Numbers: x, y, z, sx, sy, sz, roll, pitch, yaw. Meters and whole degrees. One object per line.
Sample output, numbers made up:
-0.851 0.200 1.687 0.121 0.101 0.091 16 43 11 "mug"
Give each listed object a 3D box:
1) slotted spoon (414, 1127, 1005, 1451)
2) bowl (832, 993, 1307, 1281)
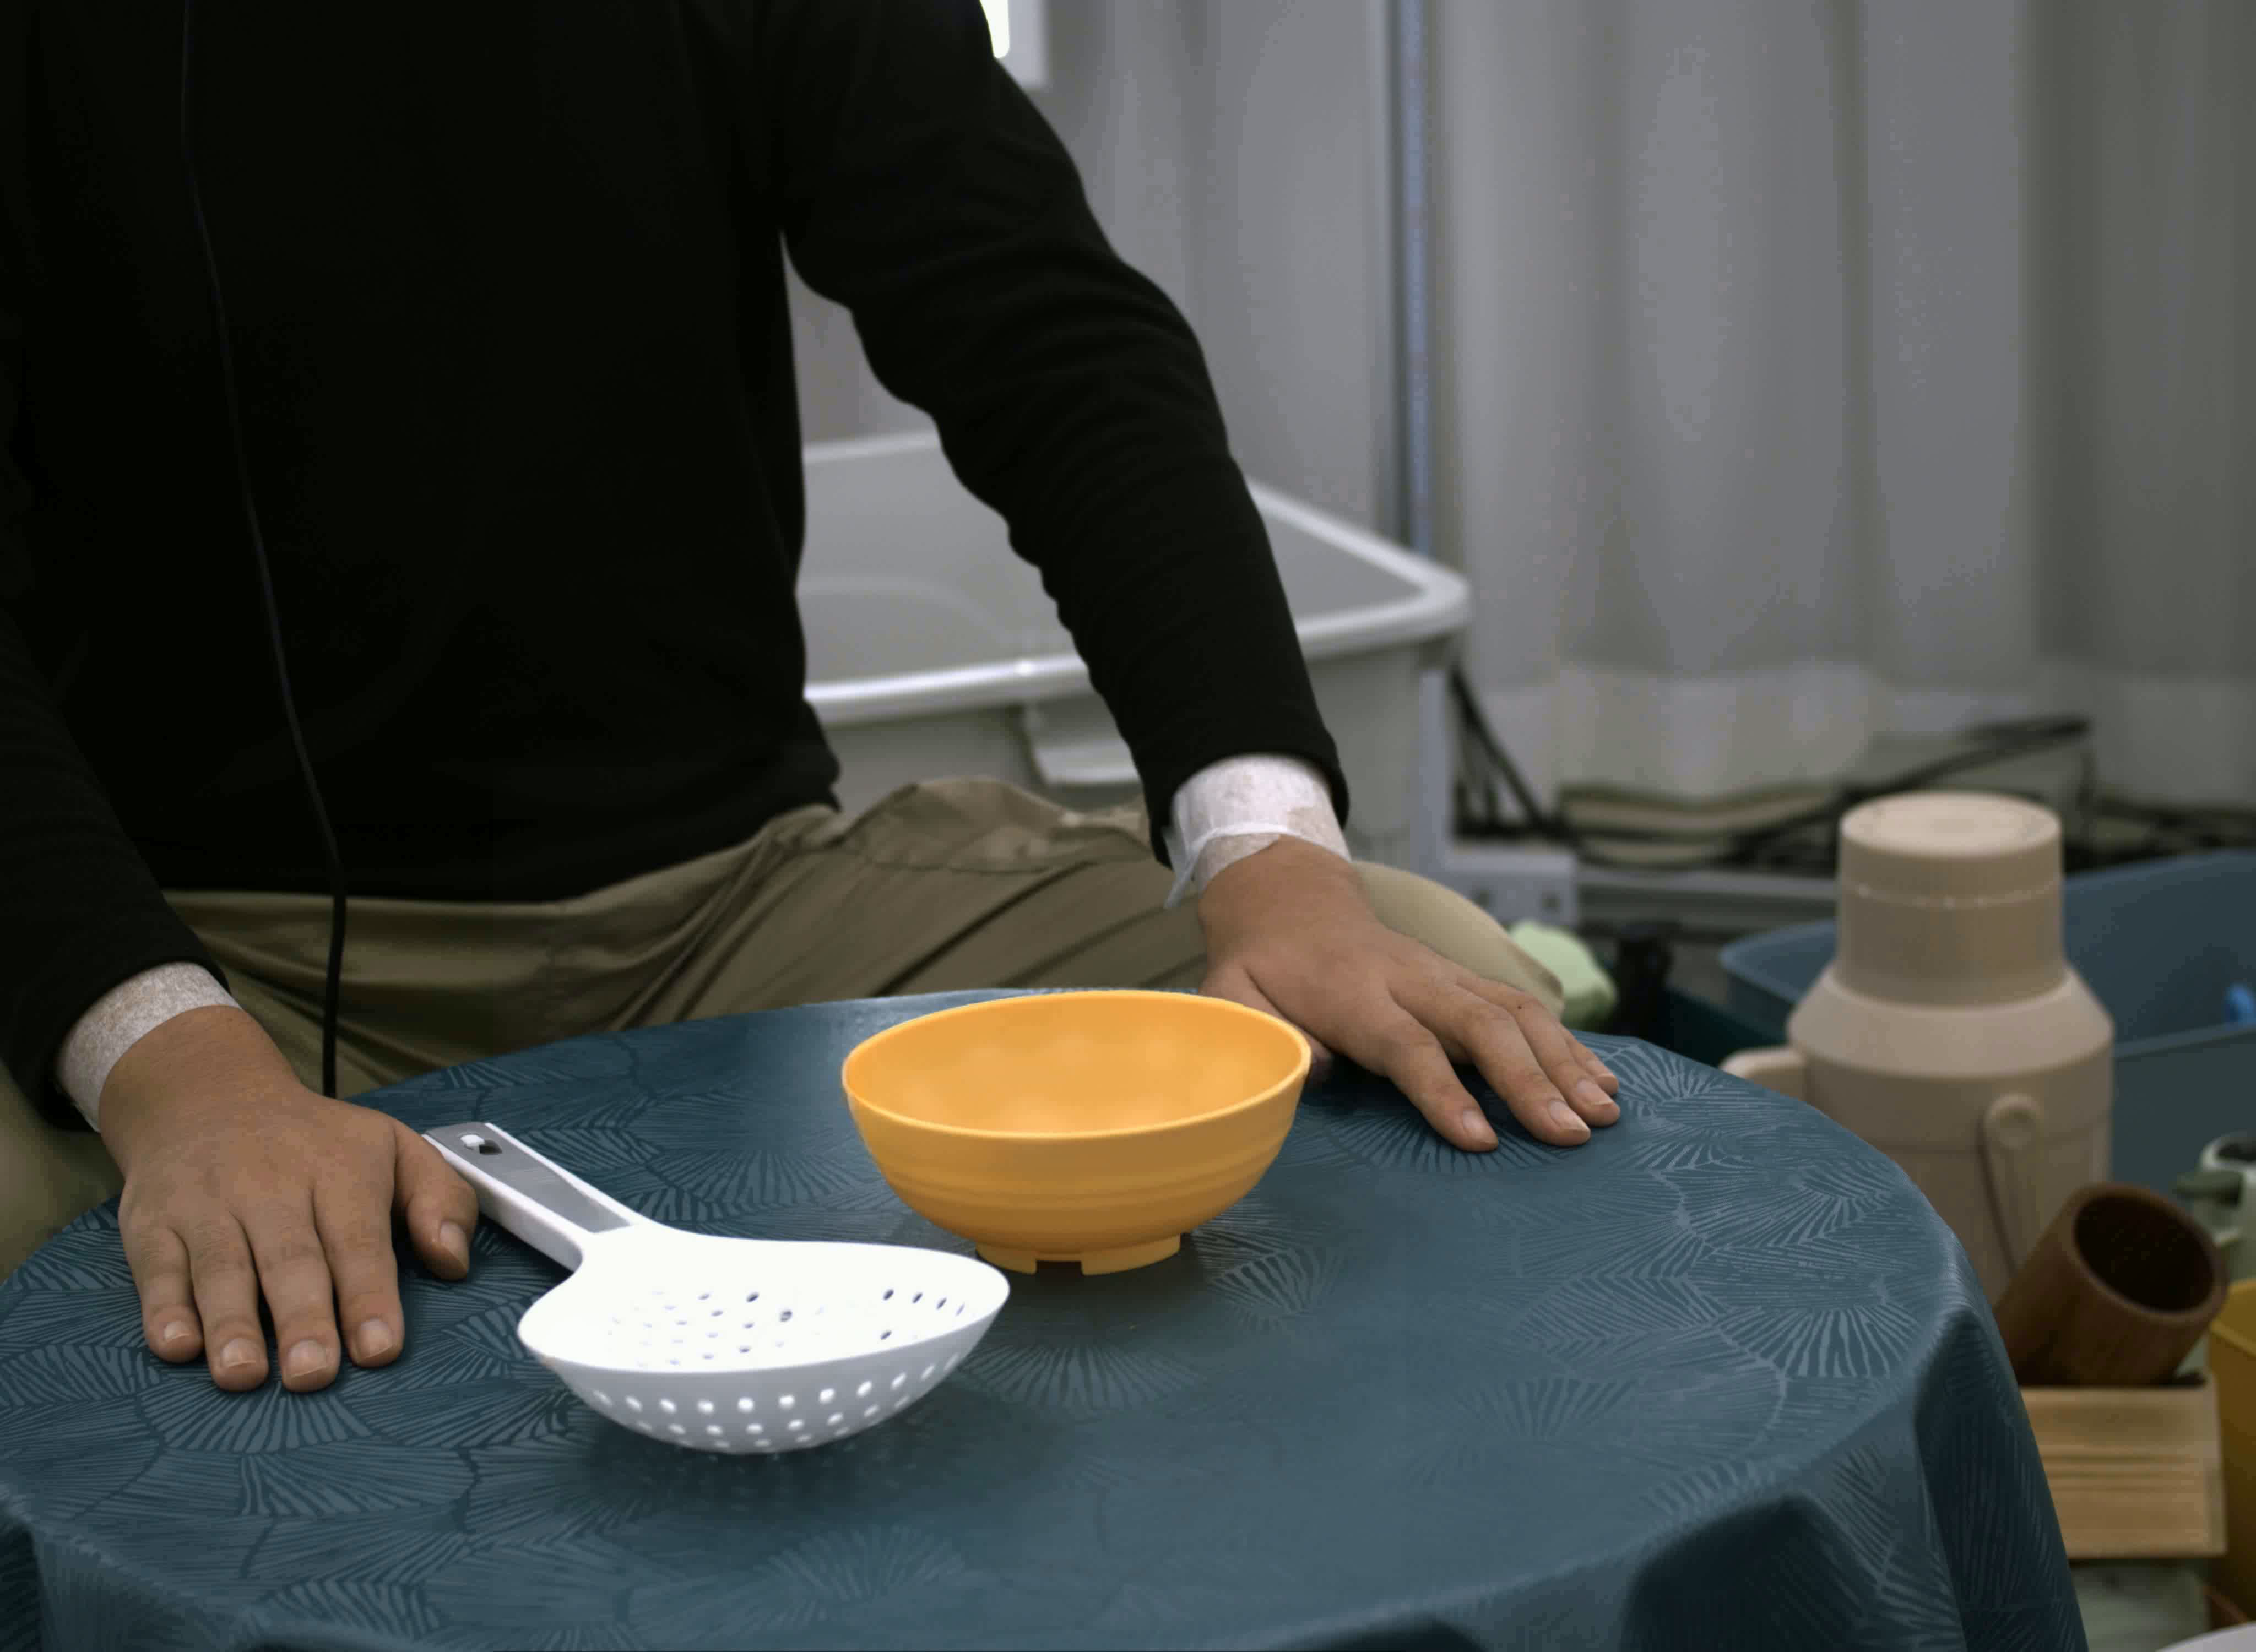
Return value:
-0.147 0.126 1.609 0.135 0.045 0.352 -8 15 -24 "slotted spoon"
-0.017 0.100 1.665 0.145 0.060 0.146 -1 15 0 "bowl"
